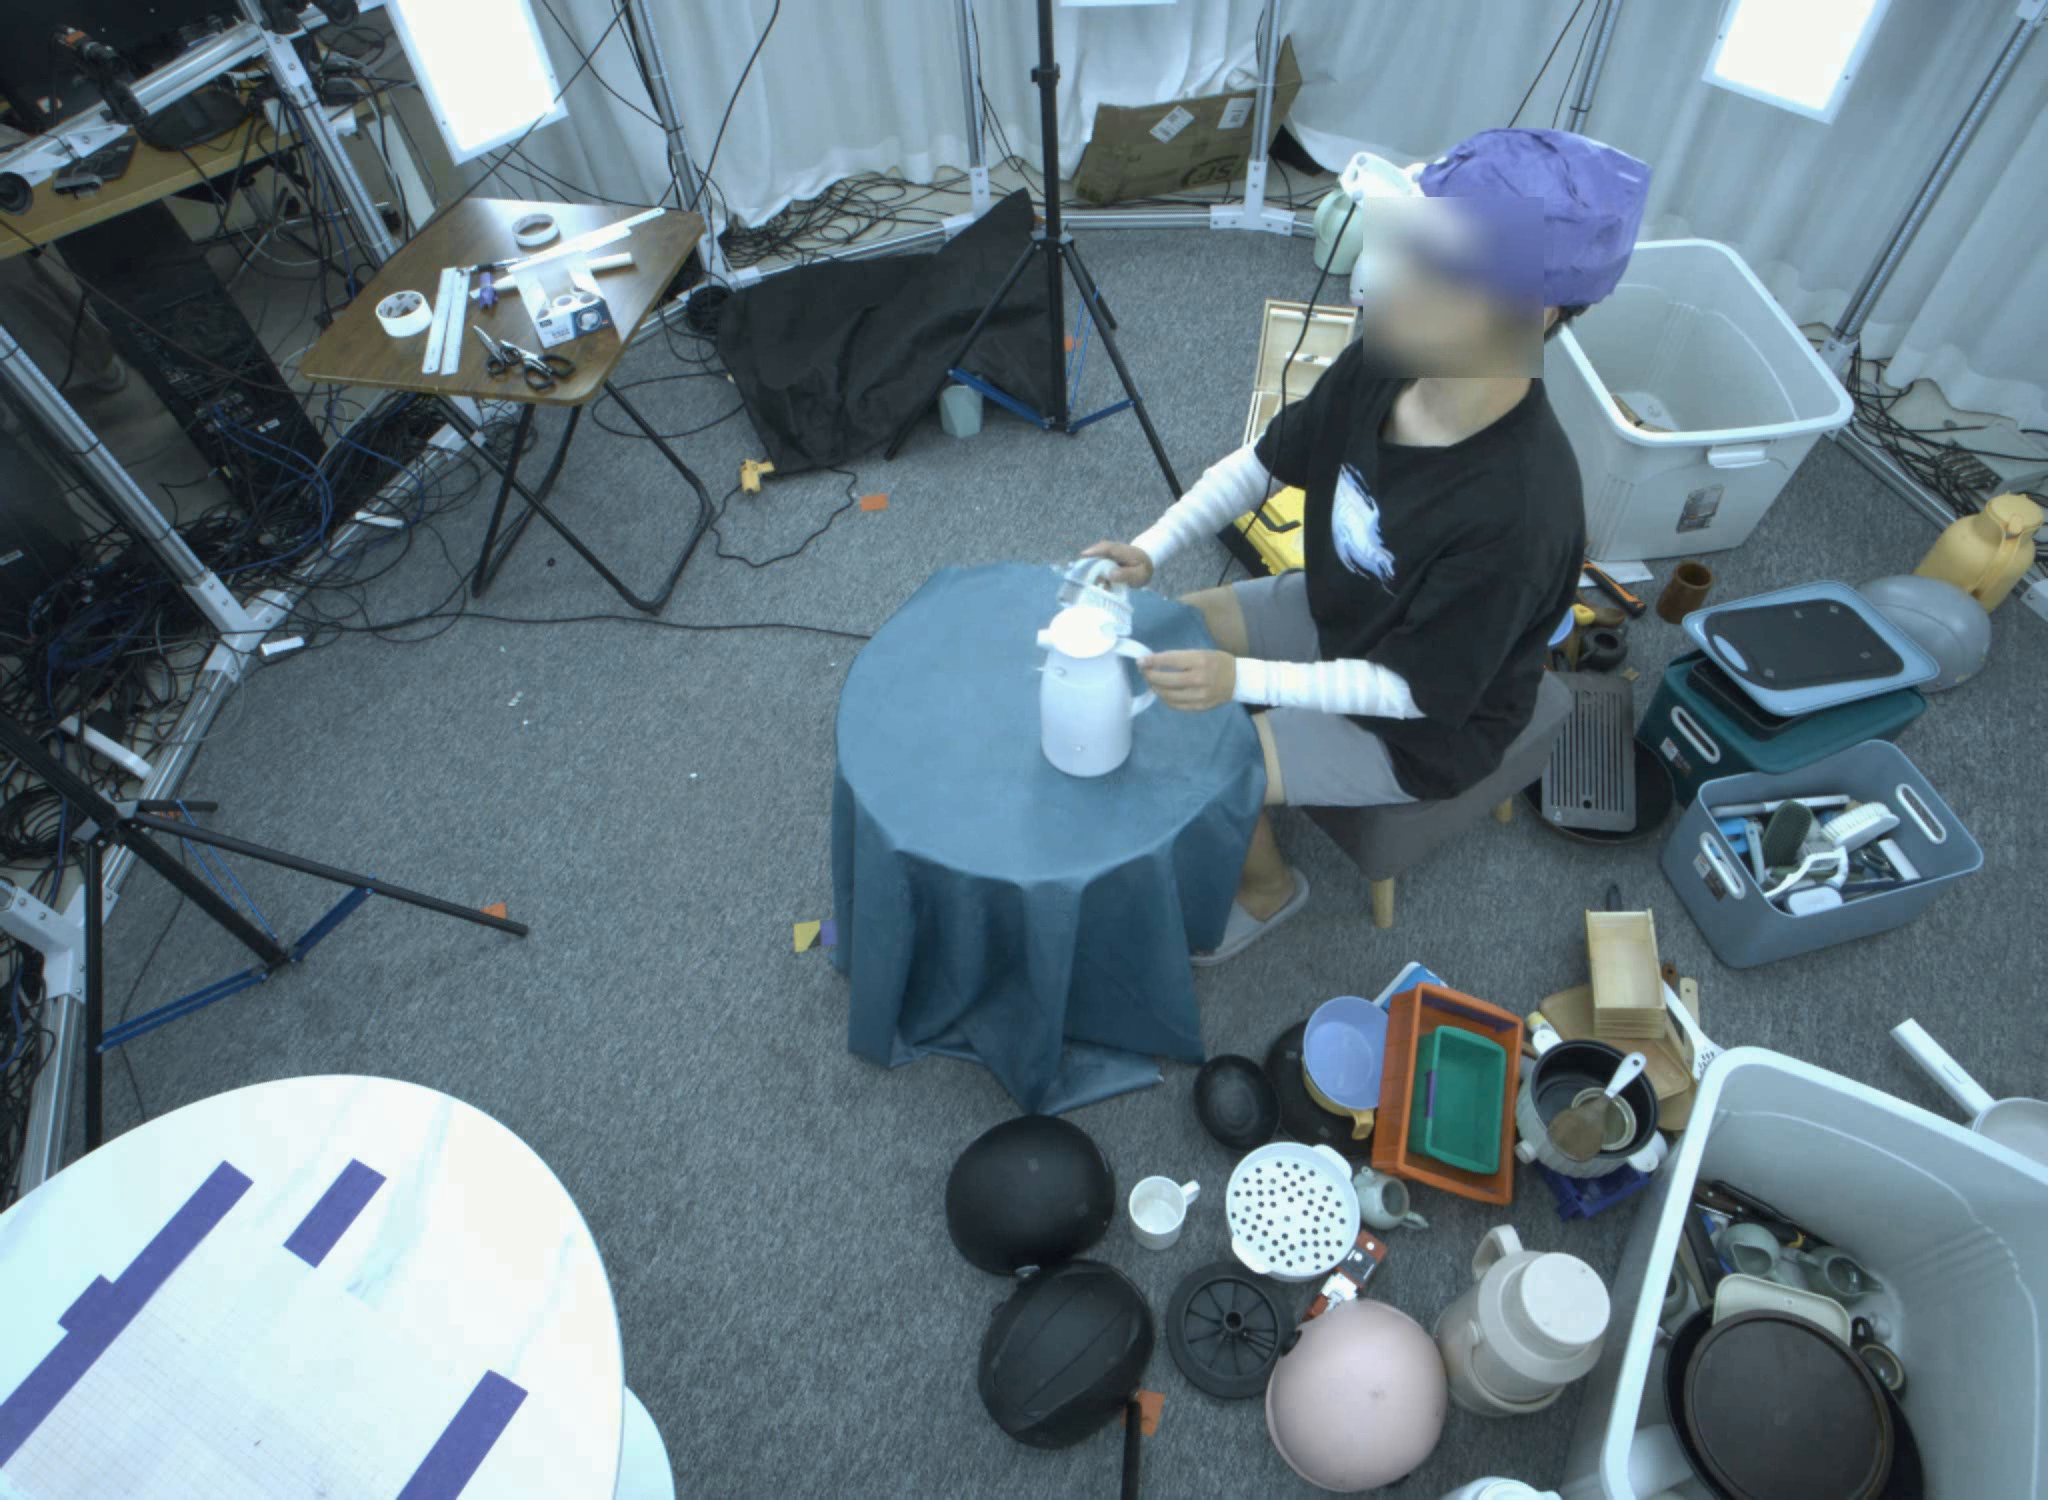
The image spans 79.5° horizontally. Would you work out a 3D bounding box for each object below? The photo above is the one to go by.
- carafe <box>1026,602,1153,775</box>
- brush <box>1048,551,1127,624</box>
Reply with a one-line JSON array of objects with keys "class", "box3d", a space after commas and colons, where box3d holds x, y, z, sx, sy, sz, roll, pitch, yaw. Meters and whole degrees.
[{"class": "carafe", "box3d": [0.091, -0.090, 1.685, 0.167, 0.251, 0.131, 1, 54, 4]}, {"class": "brush", "box3d": [0.086, -0.234, 1.724, 0.060, 0.179, 0.094, 4, 84, 33]}]
